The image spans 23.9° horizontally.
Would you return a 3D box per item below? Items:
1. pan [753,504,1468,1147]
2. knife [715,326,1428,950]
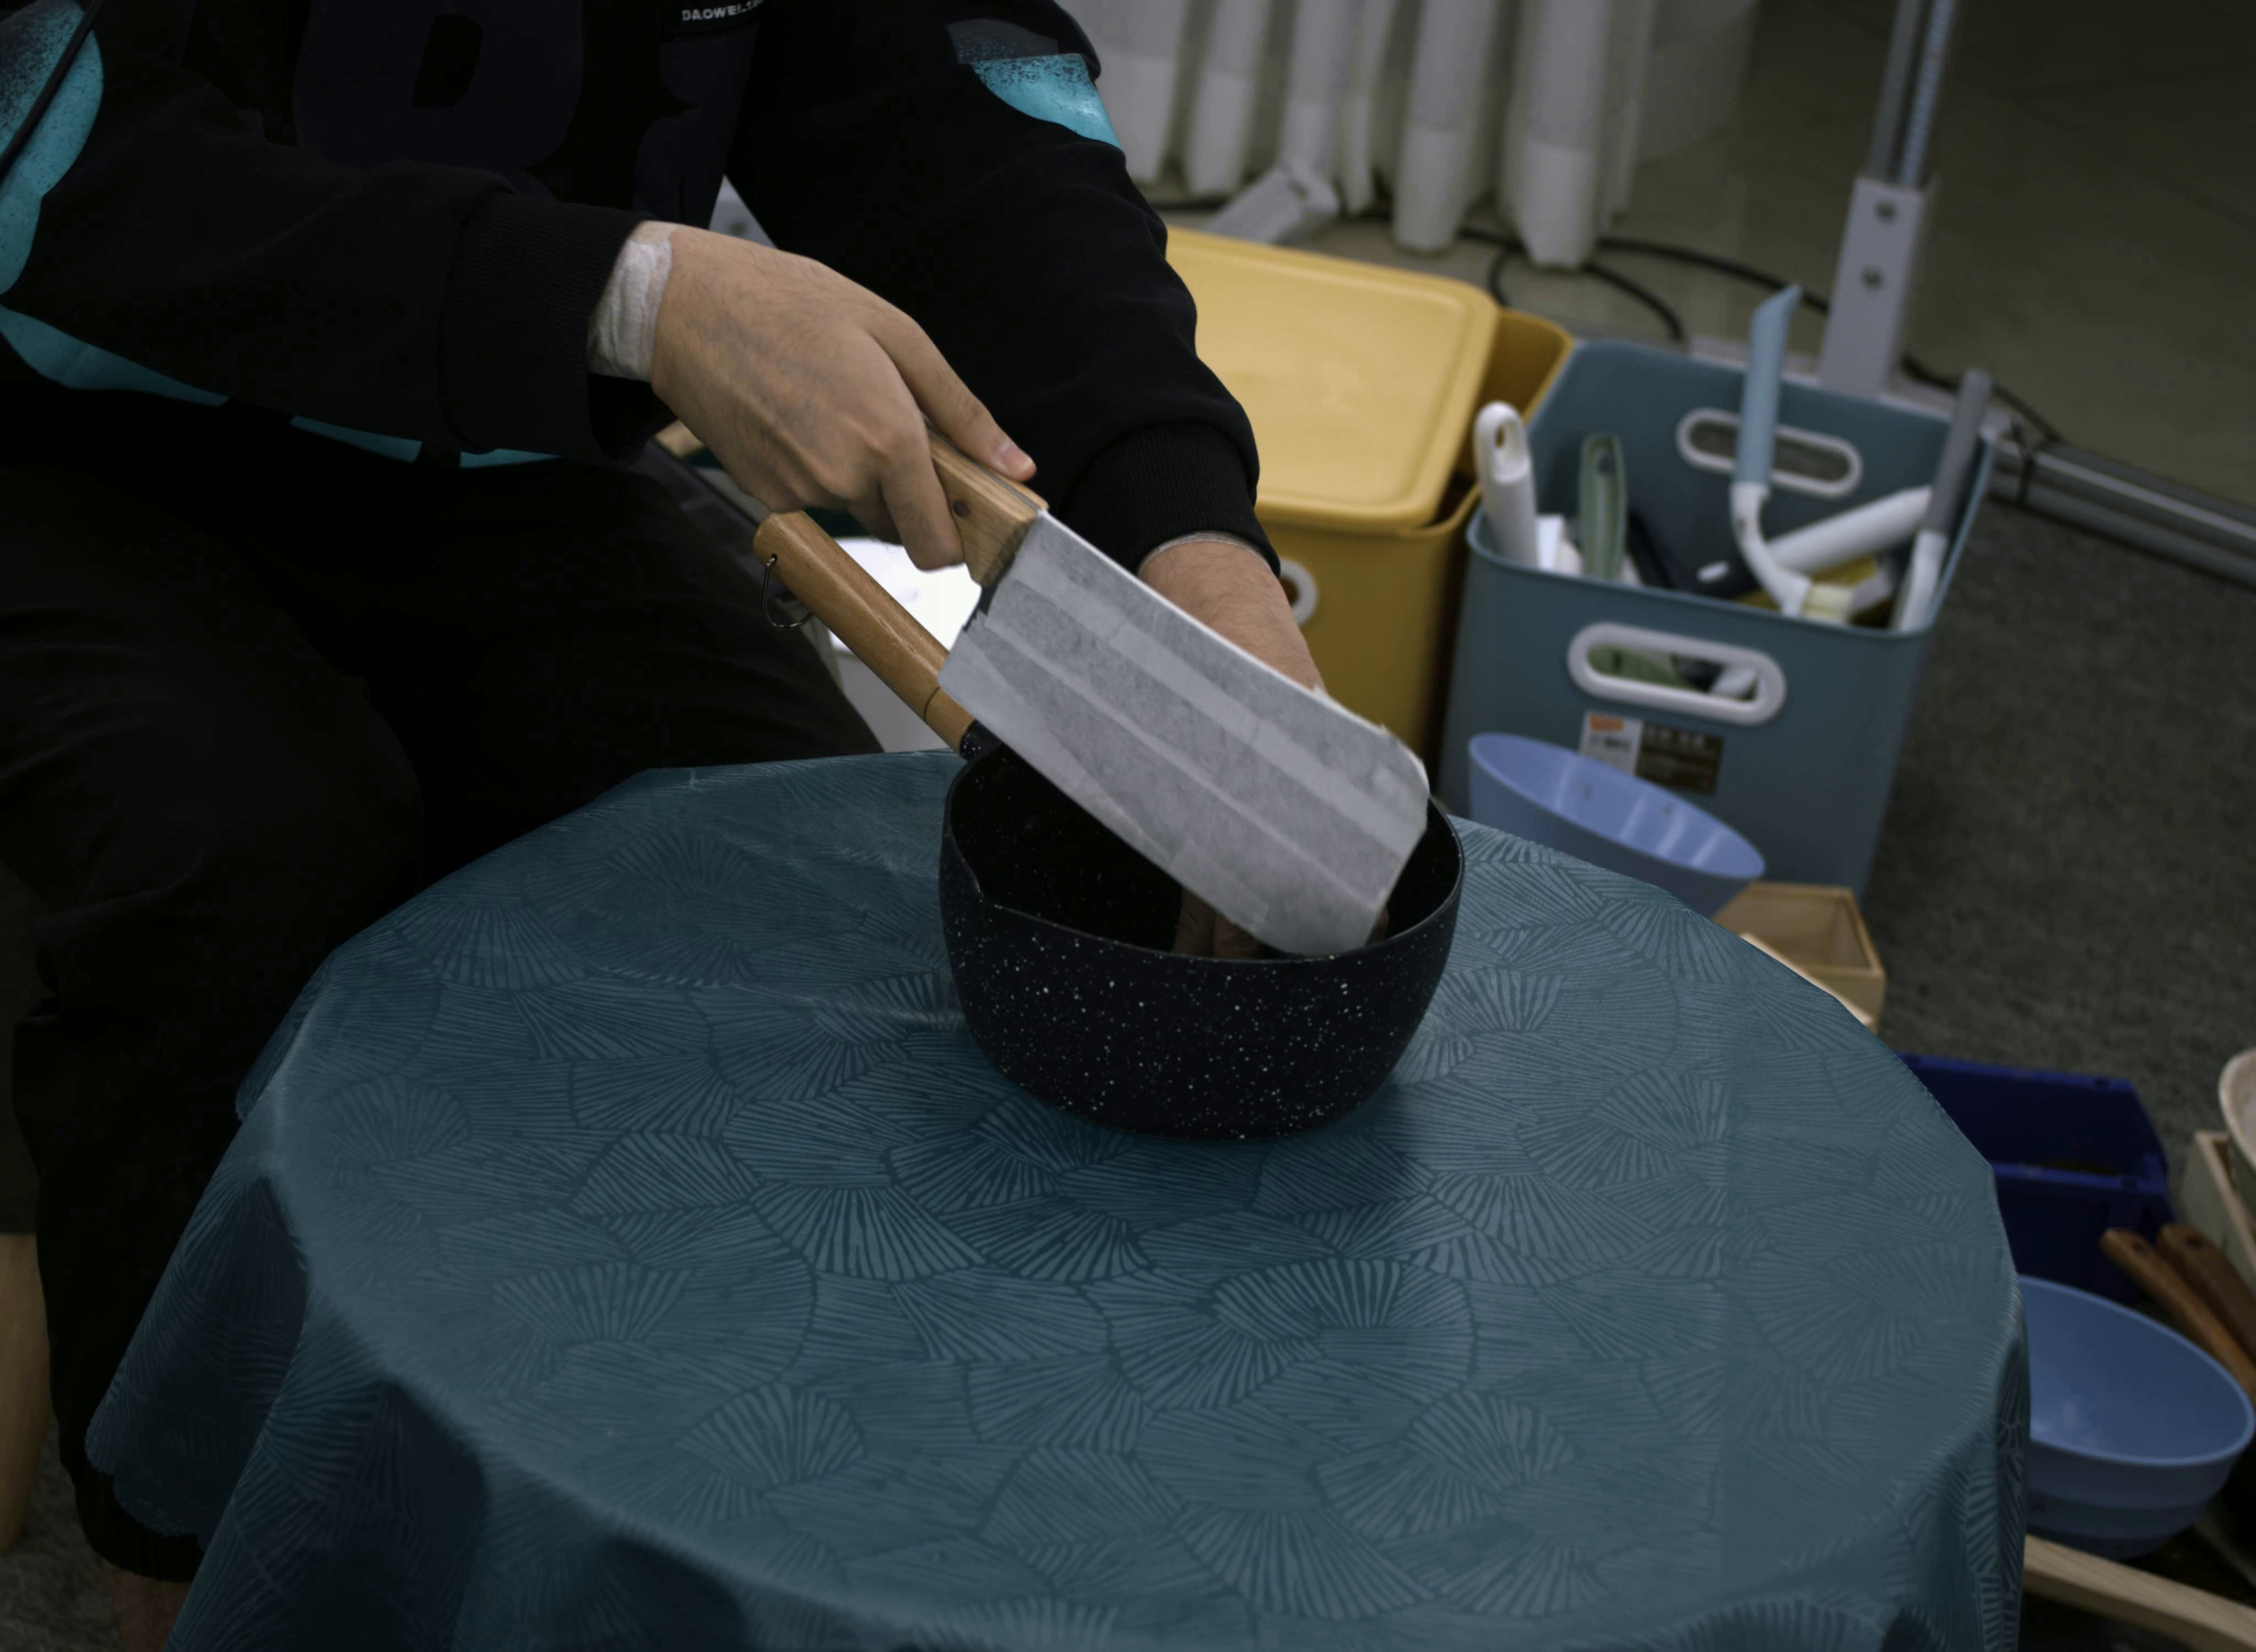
[{"bbox_3d":[-0.029,-0.004,1.925,0.206,0.108,0.345,-19,38,-39],"label":"pan"},{"bbox_3d":[-0.023,-0.069,1.863,0.316,0.114,0.021,41,35,11],"label":"knife"}]
